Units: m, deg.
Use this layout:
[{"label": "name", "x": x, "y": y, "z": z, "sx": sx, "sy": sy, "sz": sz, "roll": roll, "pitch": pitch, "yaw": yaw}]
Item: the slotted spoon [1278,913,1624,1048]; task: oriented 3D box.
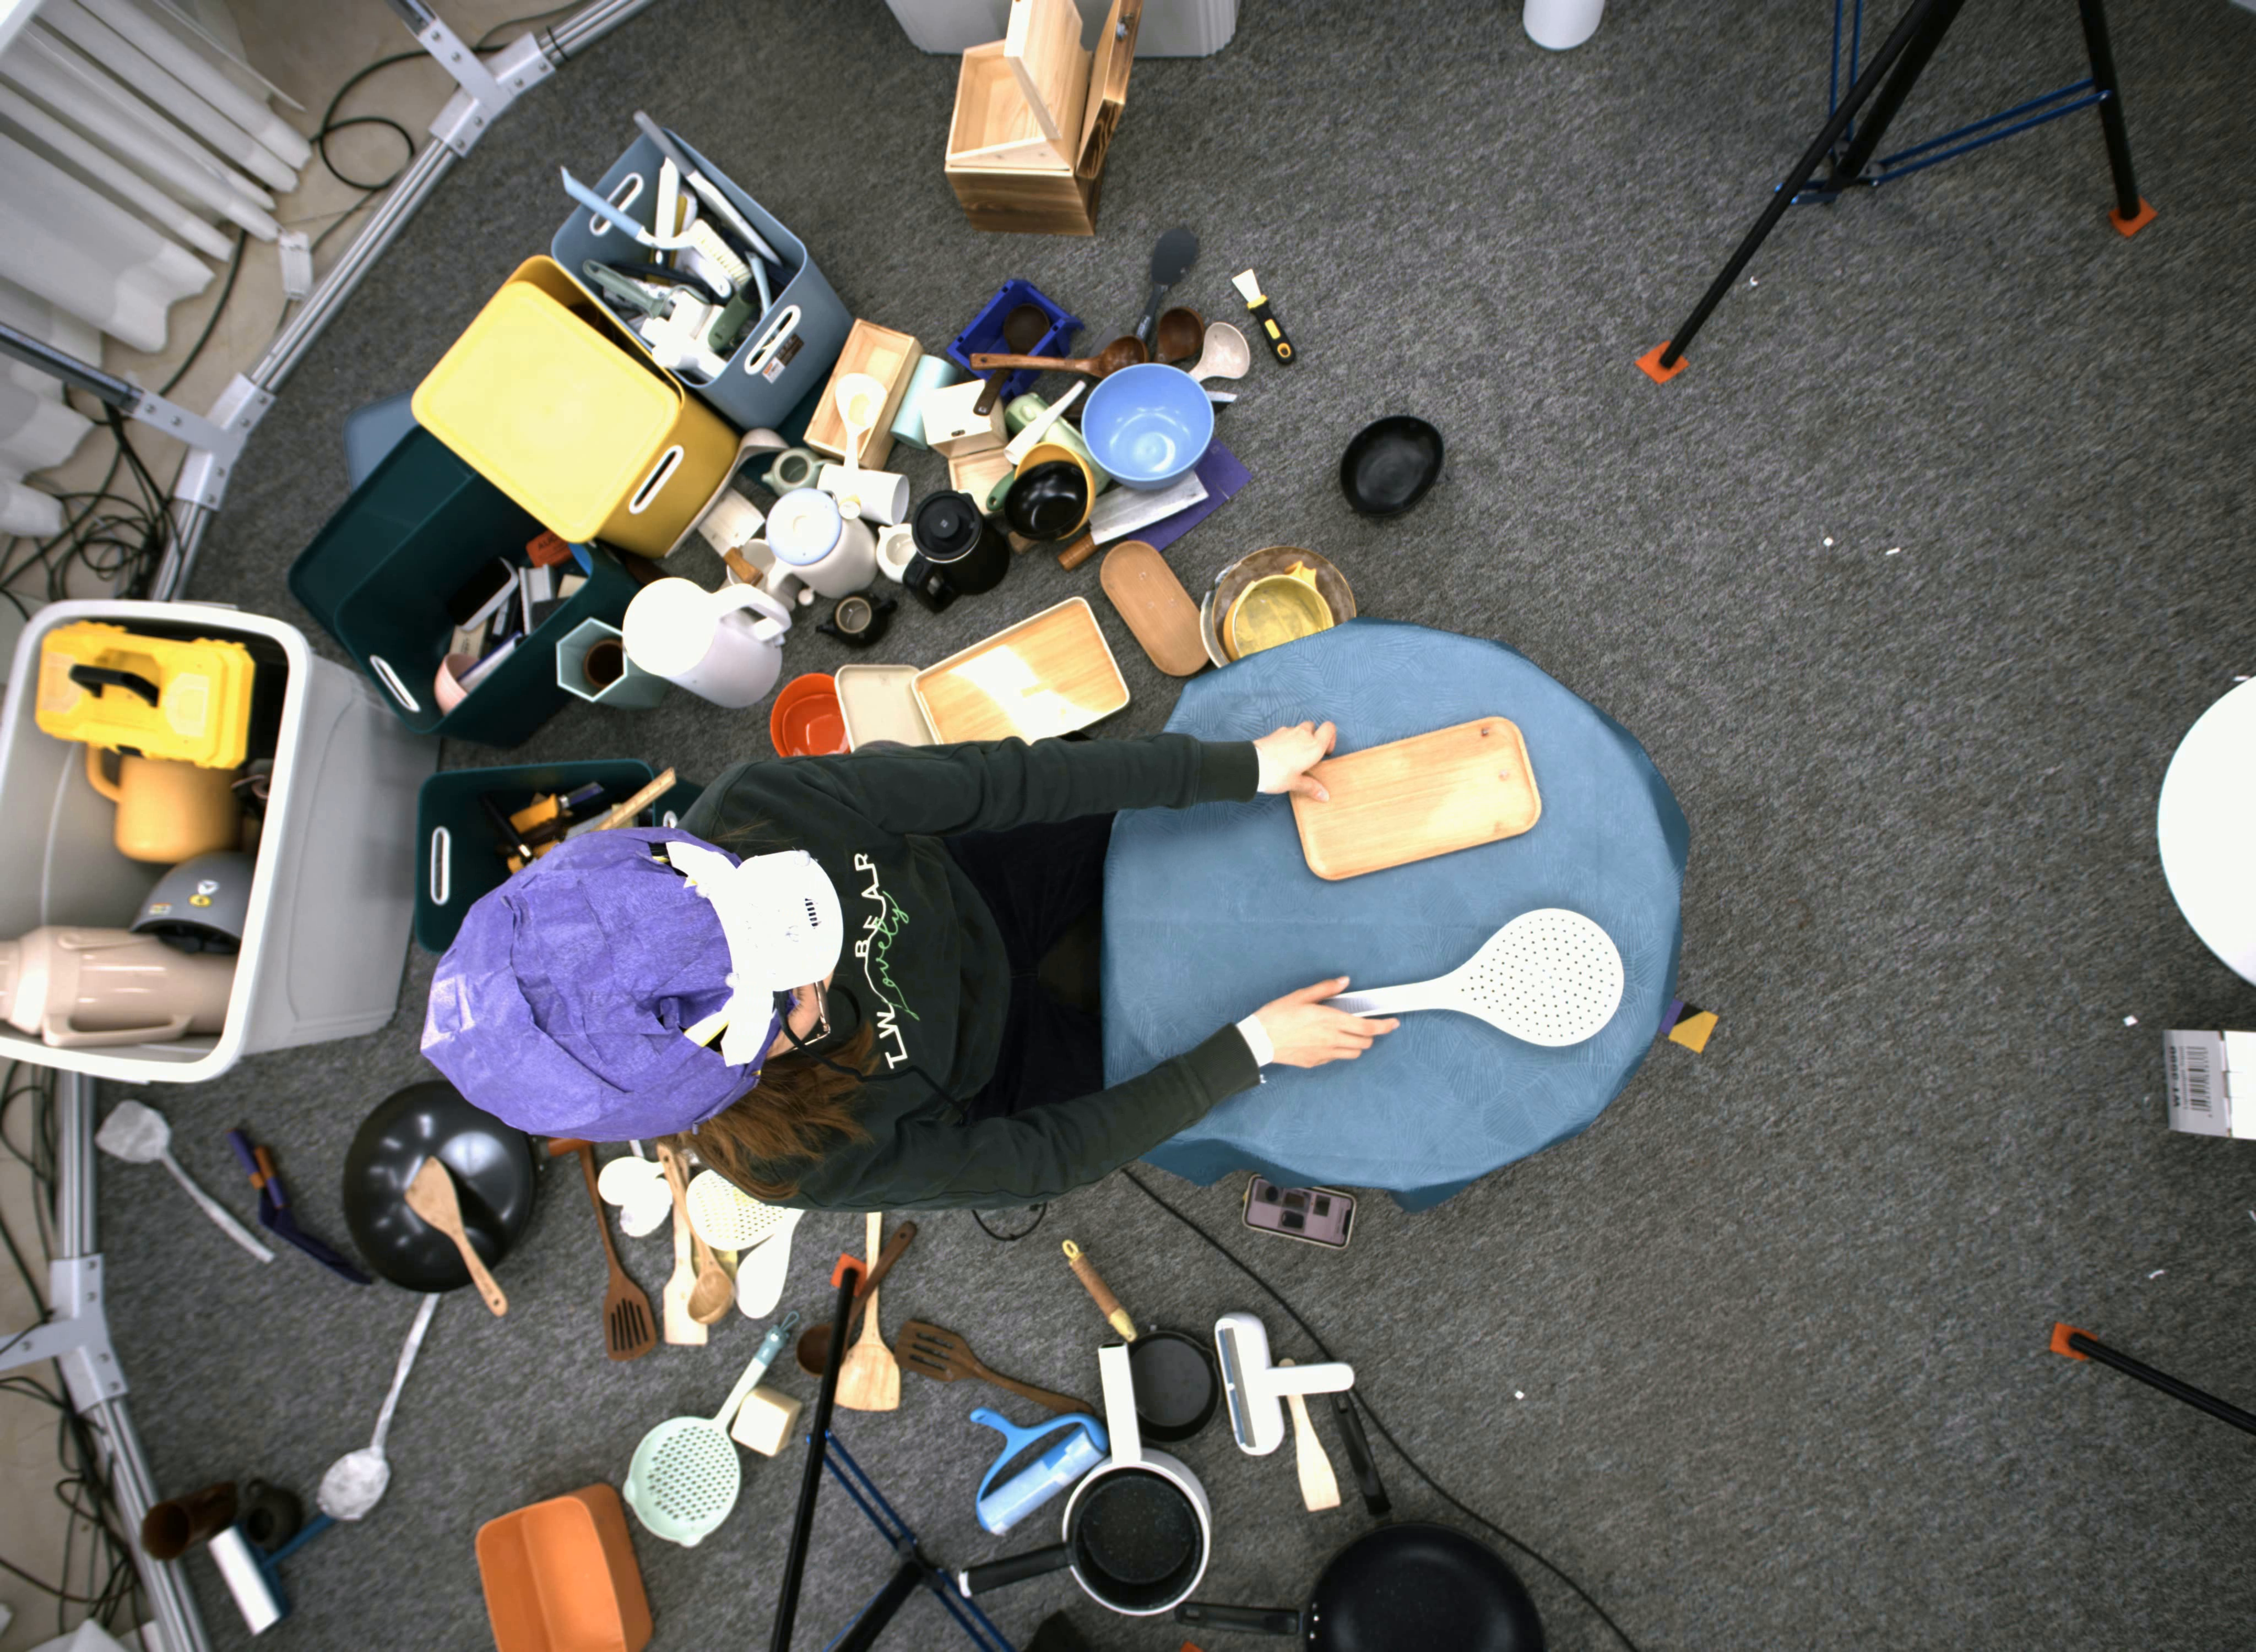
[{"label": "slotted spoon", "x": 0.328, "y": 0.172, "z": 1.424, "sx": 0.351, "sy": 0.046, "sz": 0.135, "roll": -9, "pitch": 82, "yaw": 10}]

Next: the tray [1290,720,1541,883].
[{"label": "tray", "x": 0.303, "y": -0.027, "z": 1.457, "sx": 0.252, "sy": 0.023, "sz": 0.129, "roll": -14, "pitch": 82, "yaw": 10}]
